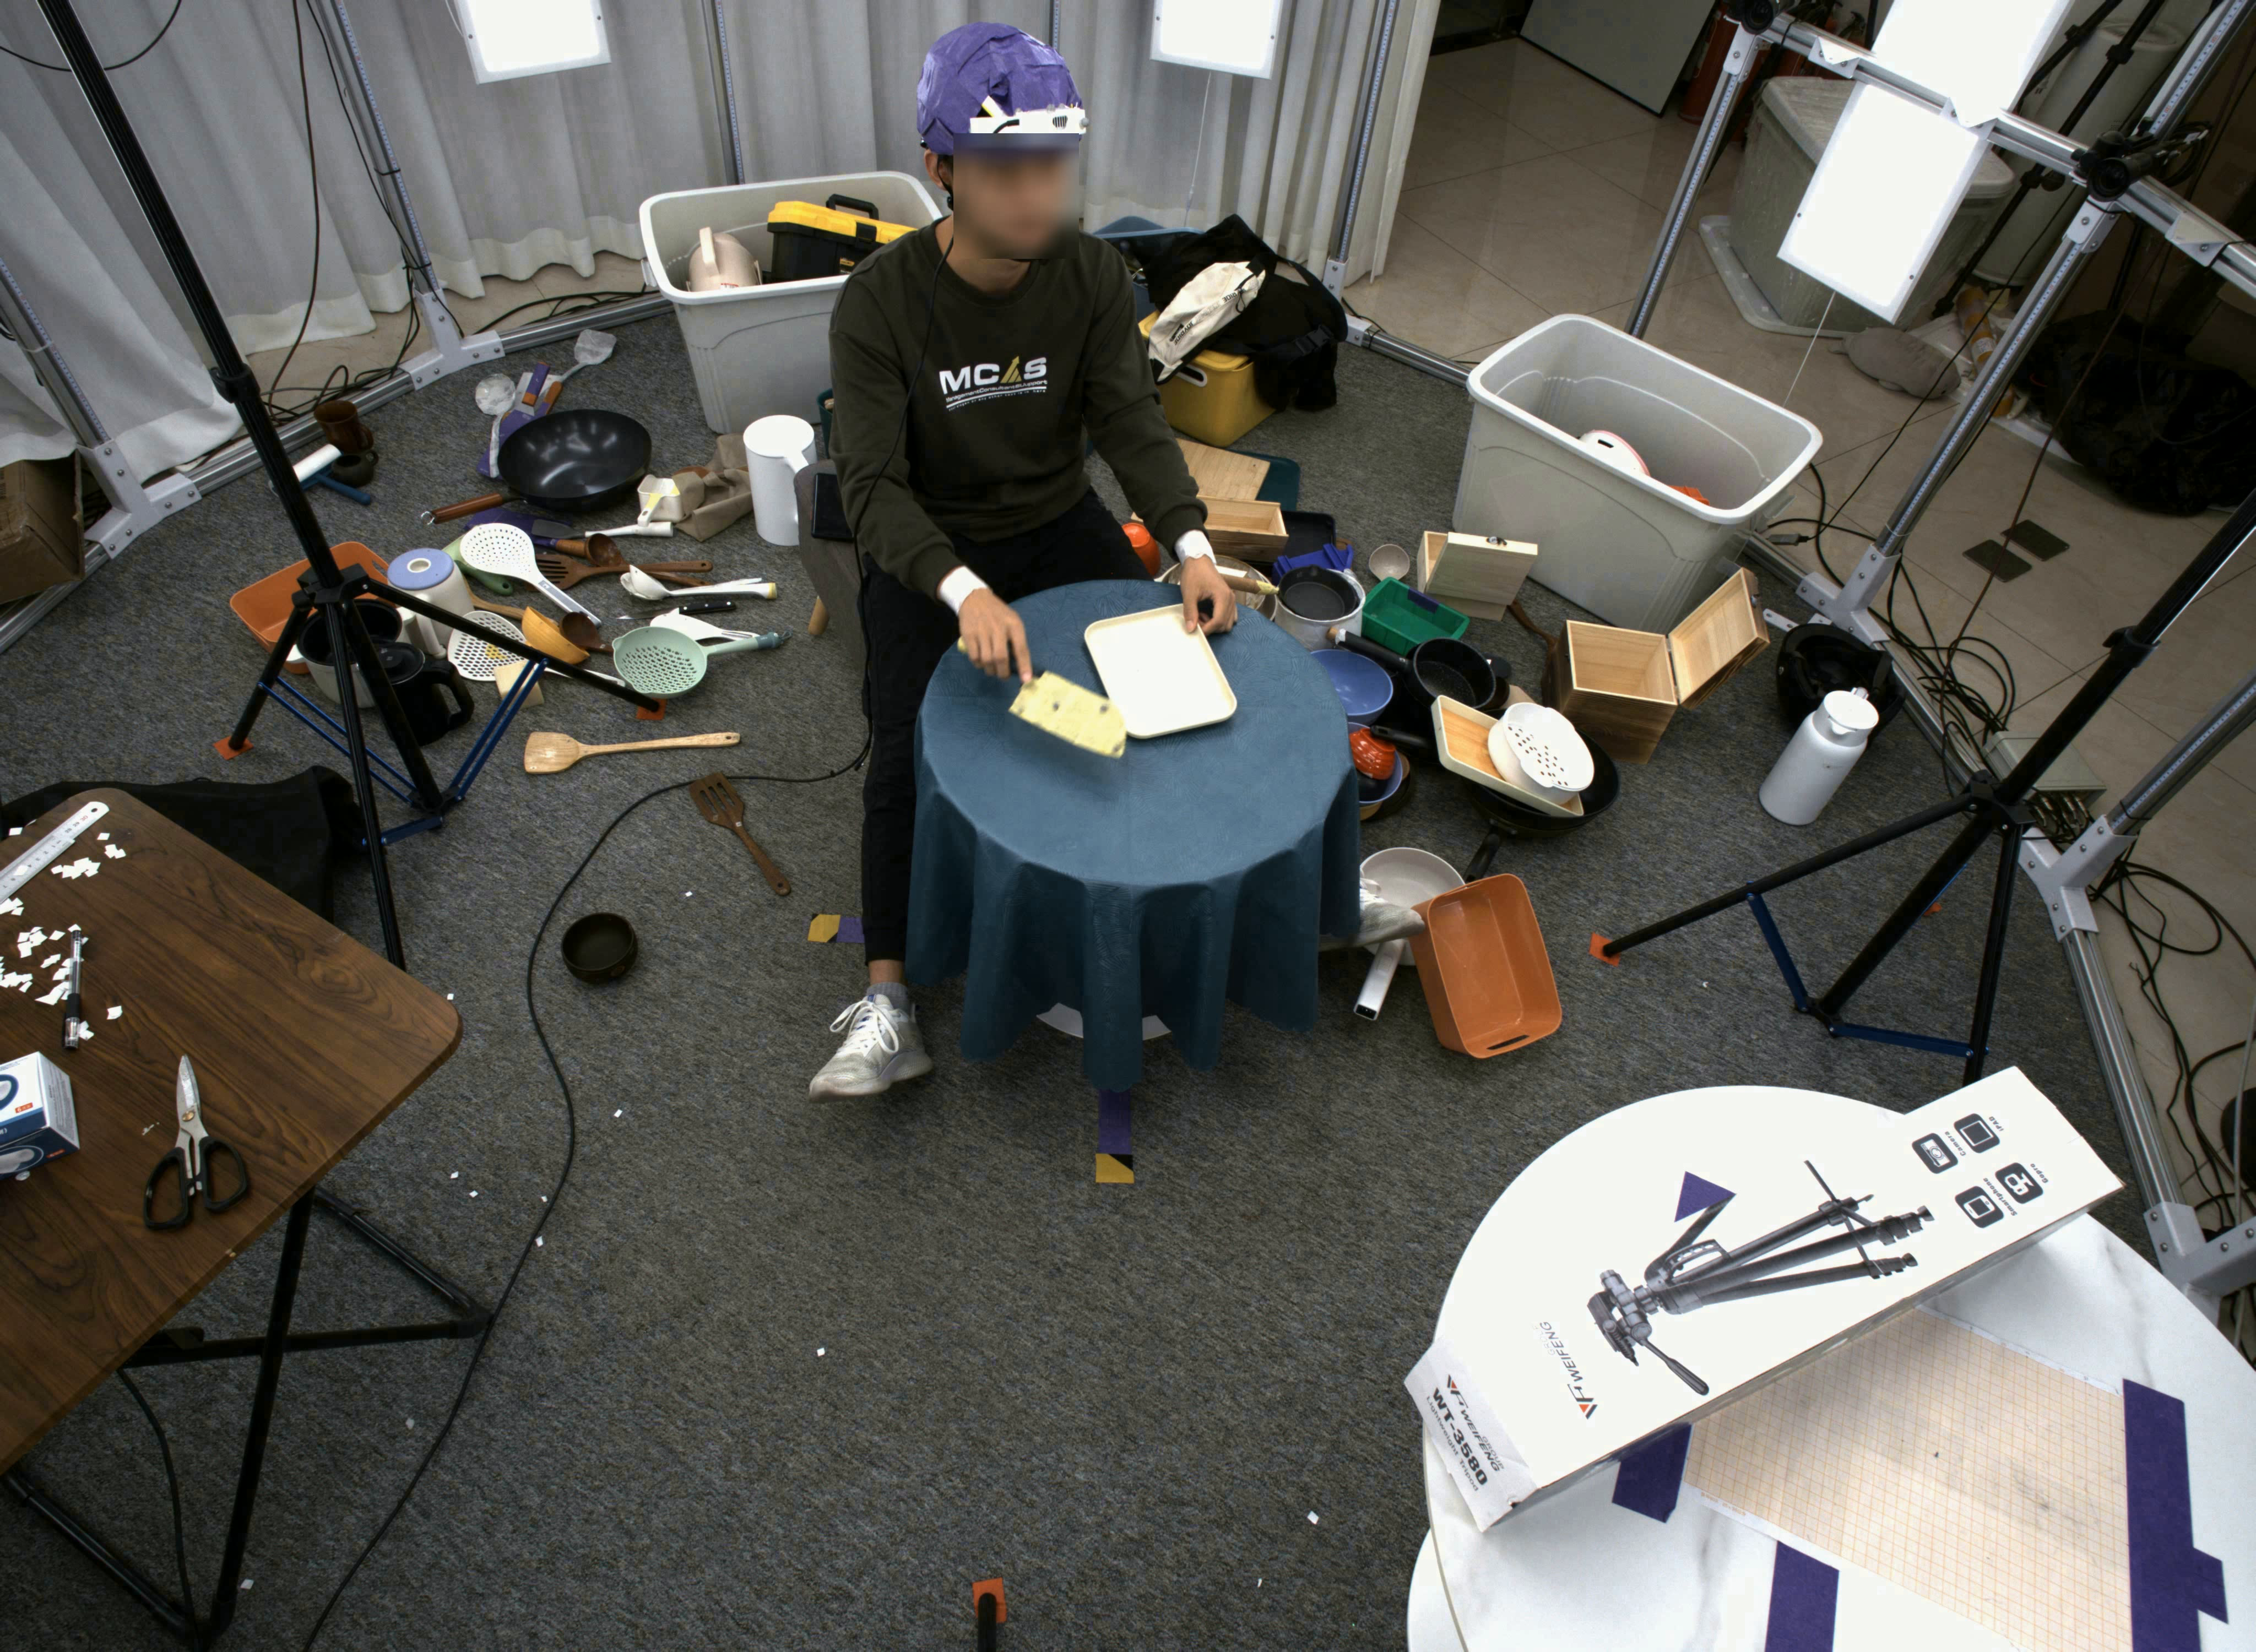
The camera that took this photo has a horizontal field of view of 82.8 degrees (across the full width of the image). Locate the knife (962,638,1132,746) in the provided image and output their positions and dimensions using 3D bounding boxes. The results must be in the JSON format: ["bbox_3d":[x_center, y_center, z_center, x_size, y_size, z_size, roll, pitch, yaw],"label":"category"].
[{"bbox_3d":[-0.115,-0.183,1.733,0.292,0.027,0.081,29,76,22],"label":"knife"}]

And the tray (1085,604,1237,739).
[{"bbox_3d":[0.045,-0.224,1.846,0.171,0.017,0.245,-14,52,-9],"label":"tray"}]
